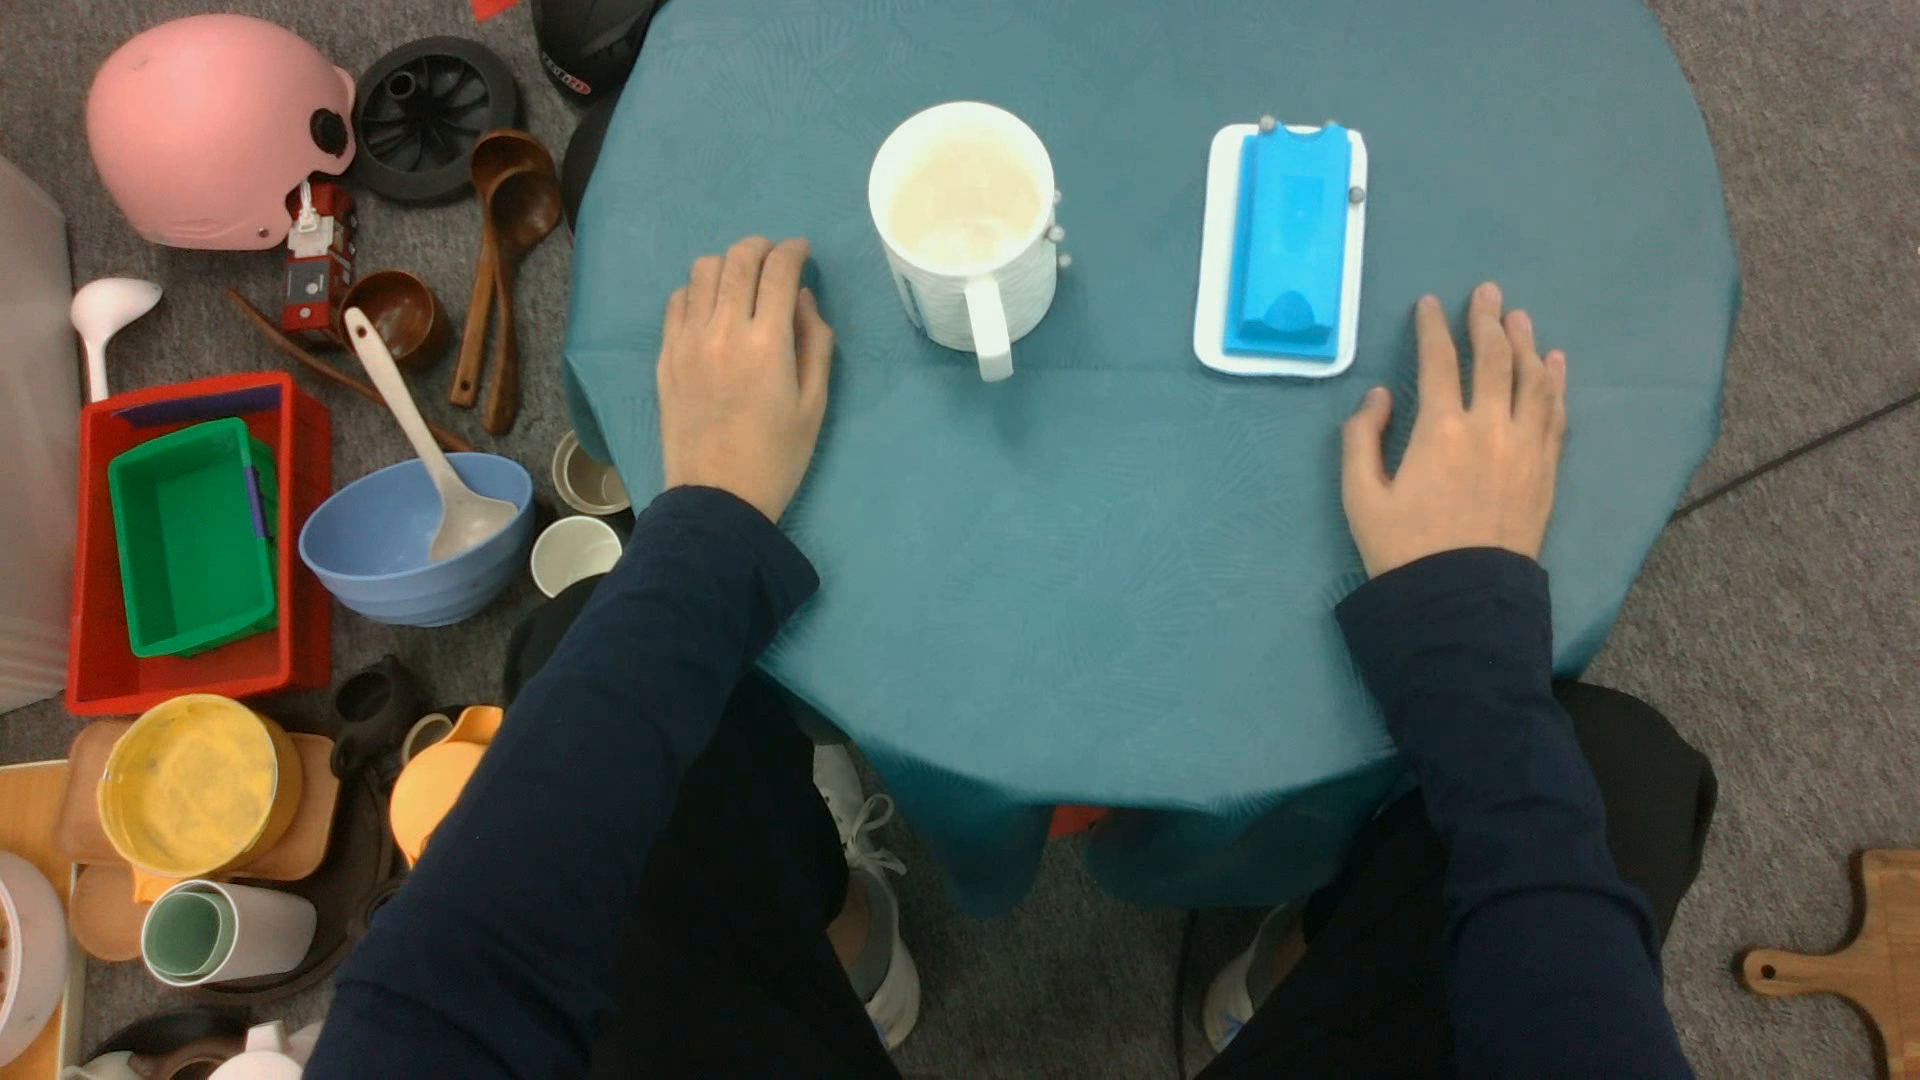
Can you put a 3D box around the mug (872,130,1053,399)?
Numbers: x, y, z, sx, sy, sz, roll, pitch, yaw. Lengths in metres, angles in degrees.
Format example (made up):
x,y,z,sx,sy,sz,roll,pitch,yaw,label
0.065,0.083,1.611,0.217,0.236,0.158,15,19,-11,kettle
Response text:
x,y,z,sx,sy,sz,roll,pitch,yaw,label
0.008,-0.127,0.688,0.085,0.102,0.118,-13,74,0,mug

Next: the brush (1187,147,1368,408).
x,y,z,sx,sy,sz,roll,pitch,yaw,label
0.163,-0.140,0.699,0.084,0.056,0.144,7,73,10,brush
